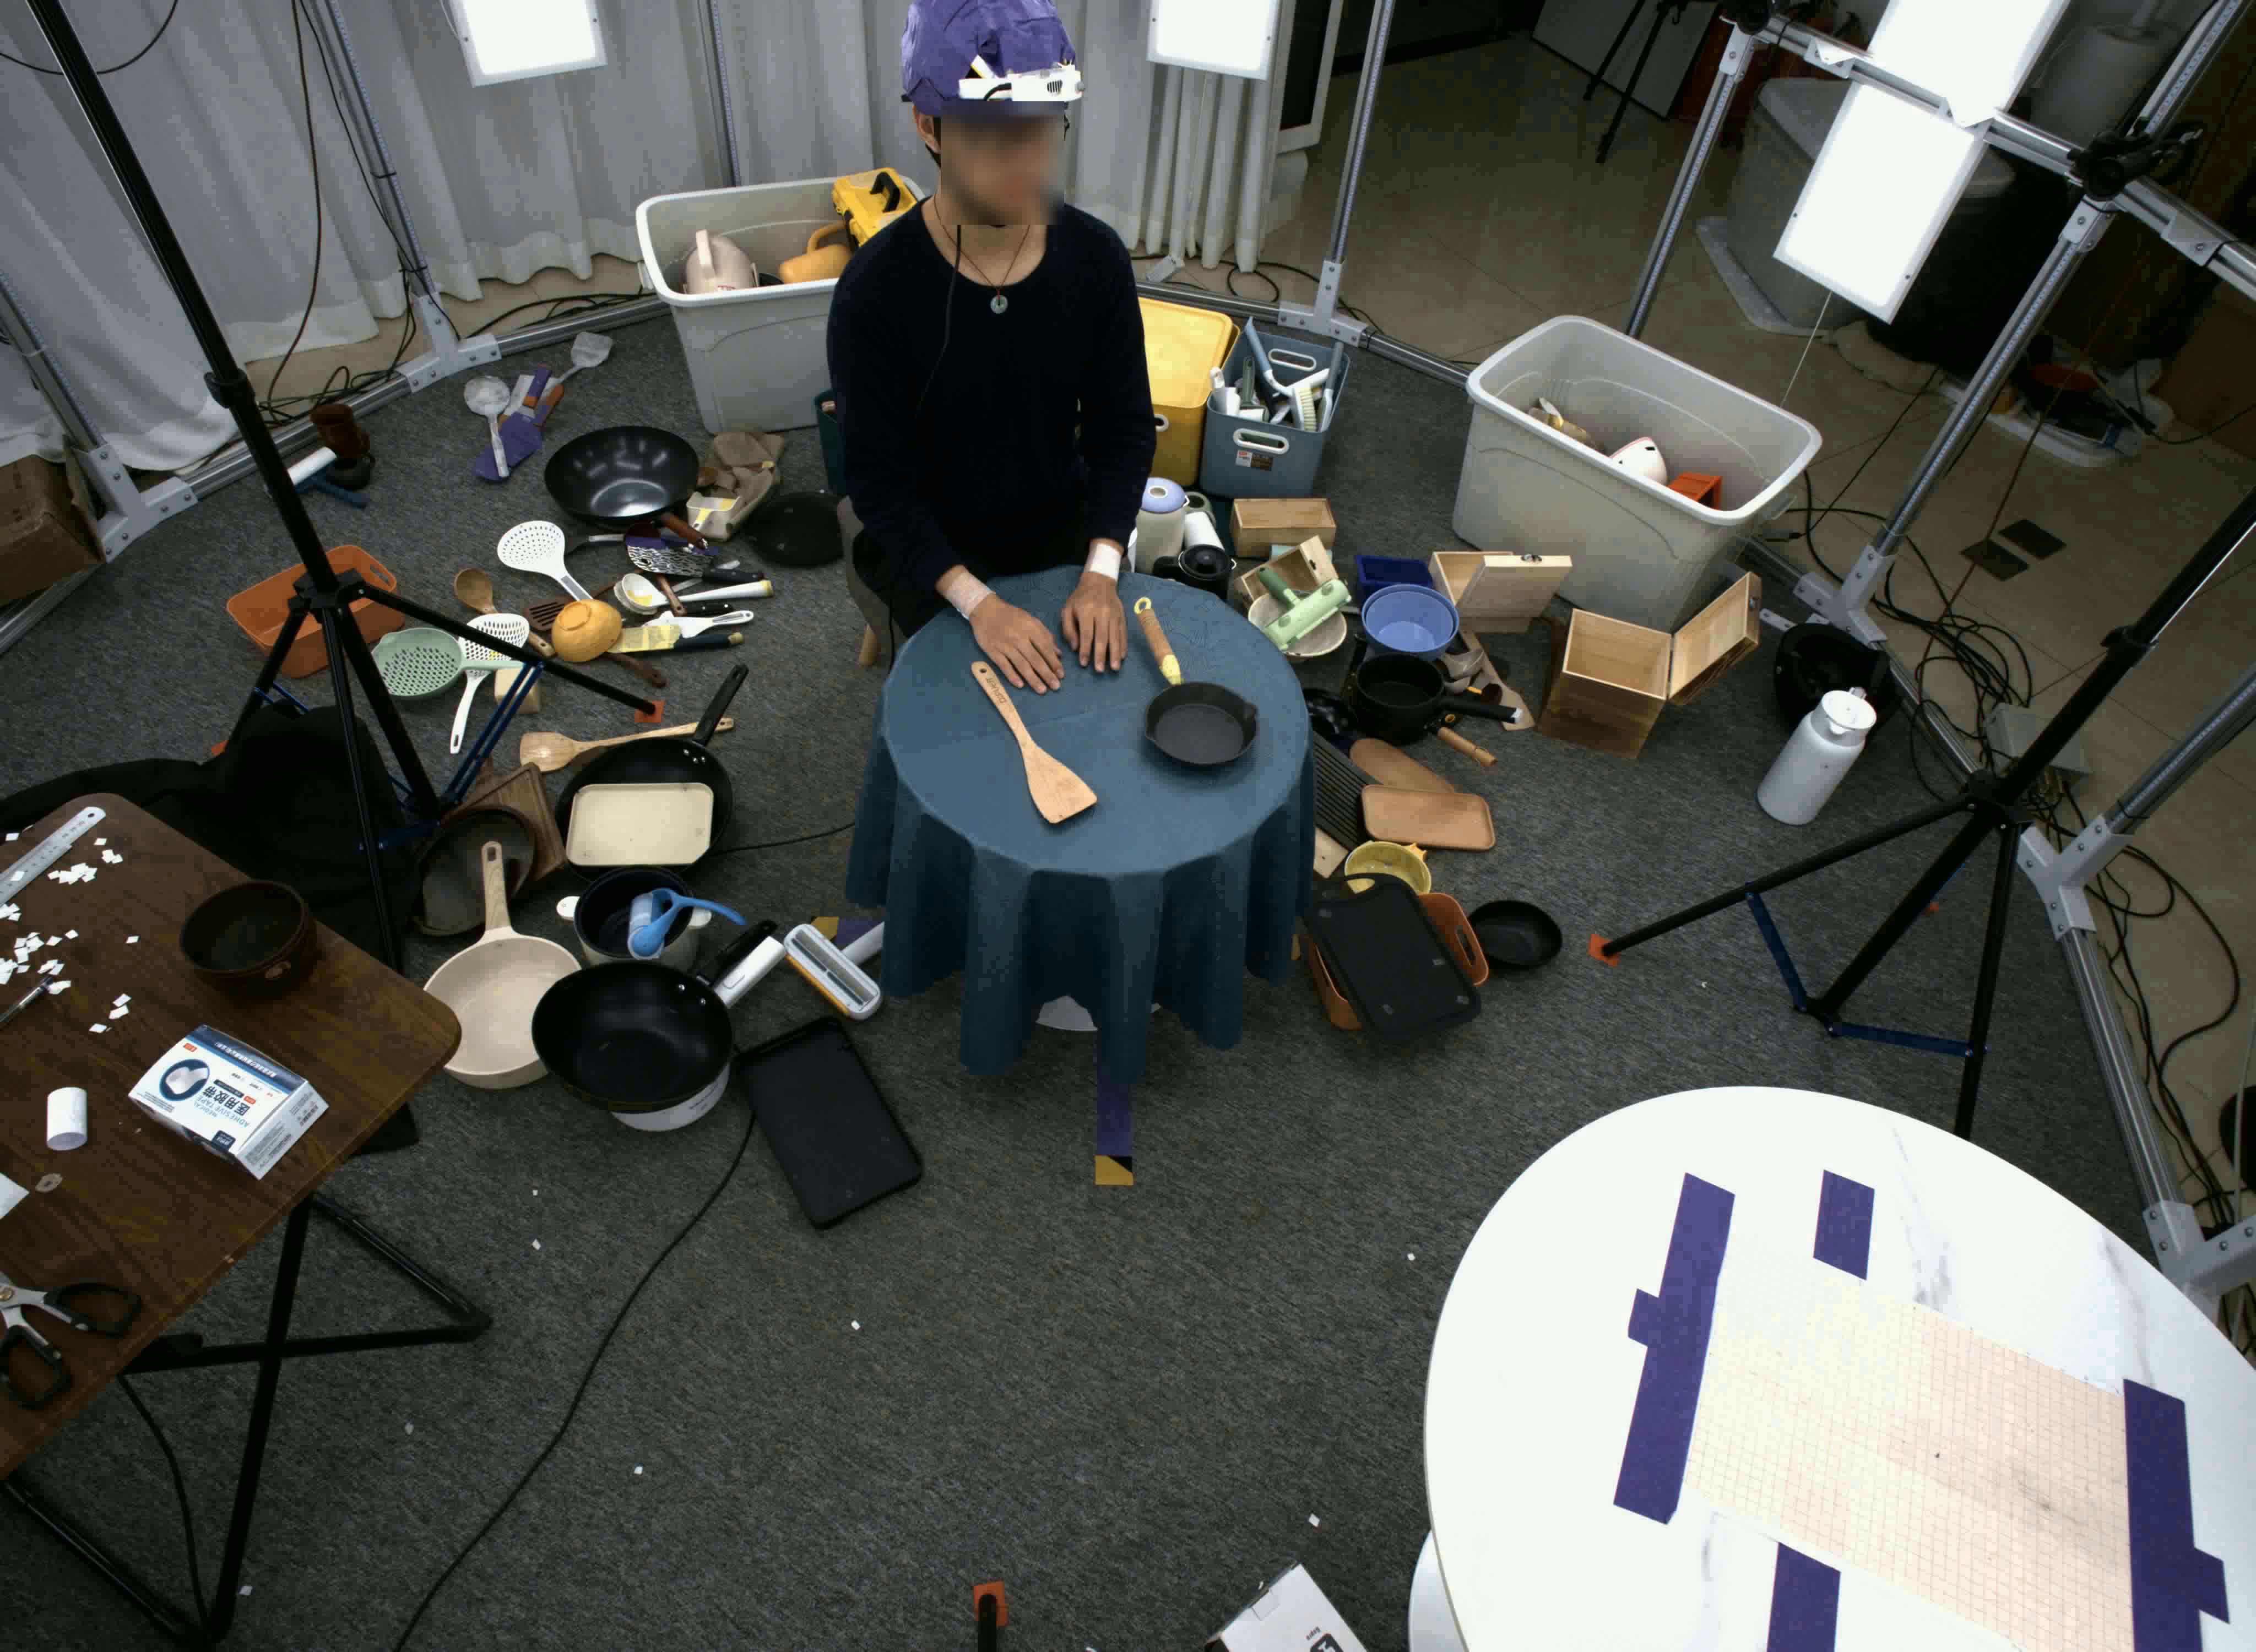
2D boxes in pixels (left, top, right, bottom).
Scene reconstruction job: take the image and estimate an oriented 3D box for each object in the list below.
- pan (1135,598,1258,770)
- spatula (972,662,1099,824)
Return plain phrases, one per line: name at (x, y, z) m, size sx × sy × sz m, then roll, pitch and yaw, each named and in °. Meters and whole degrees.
pan at (0.073, -0.203, 1.817) m, size 0.169 × 0.048 × 0.332 m, roll -12°, pitch 52°, yaw -14°
spatula at (-0.140, -0.123, 1.755) m, size 0.080 × 0.016 × 0.335 m, roll -19°, pitch 53°, yaw -20°
